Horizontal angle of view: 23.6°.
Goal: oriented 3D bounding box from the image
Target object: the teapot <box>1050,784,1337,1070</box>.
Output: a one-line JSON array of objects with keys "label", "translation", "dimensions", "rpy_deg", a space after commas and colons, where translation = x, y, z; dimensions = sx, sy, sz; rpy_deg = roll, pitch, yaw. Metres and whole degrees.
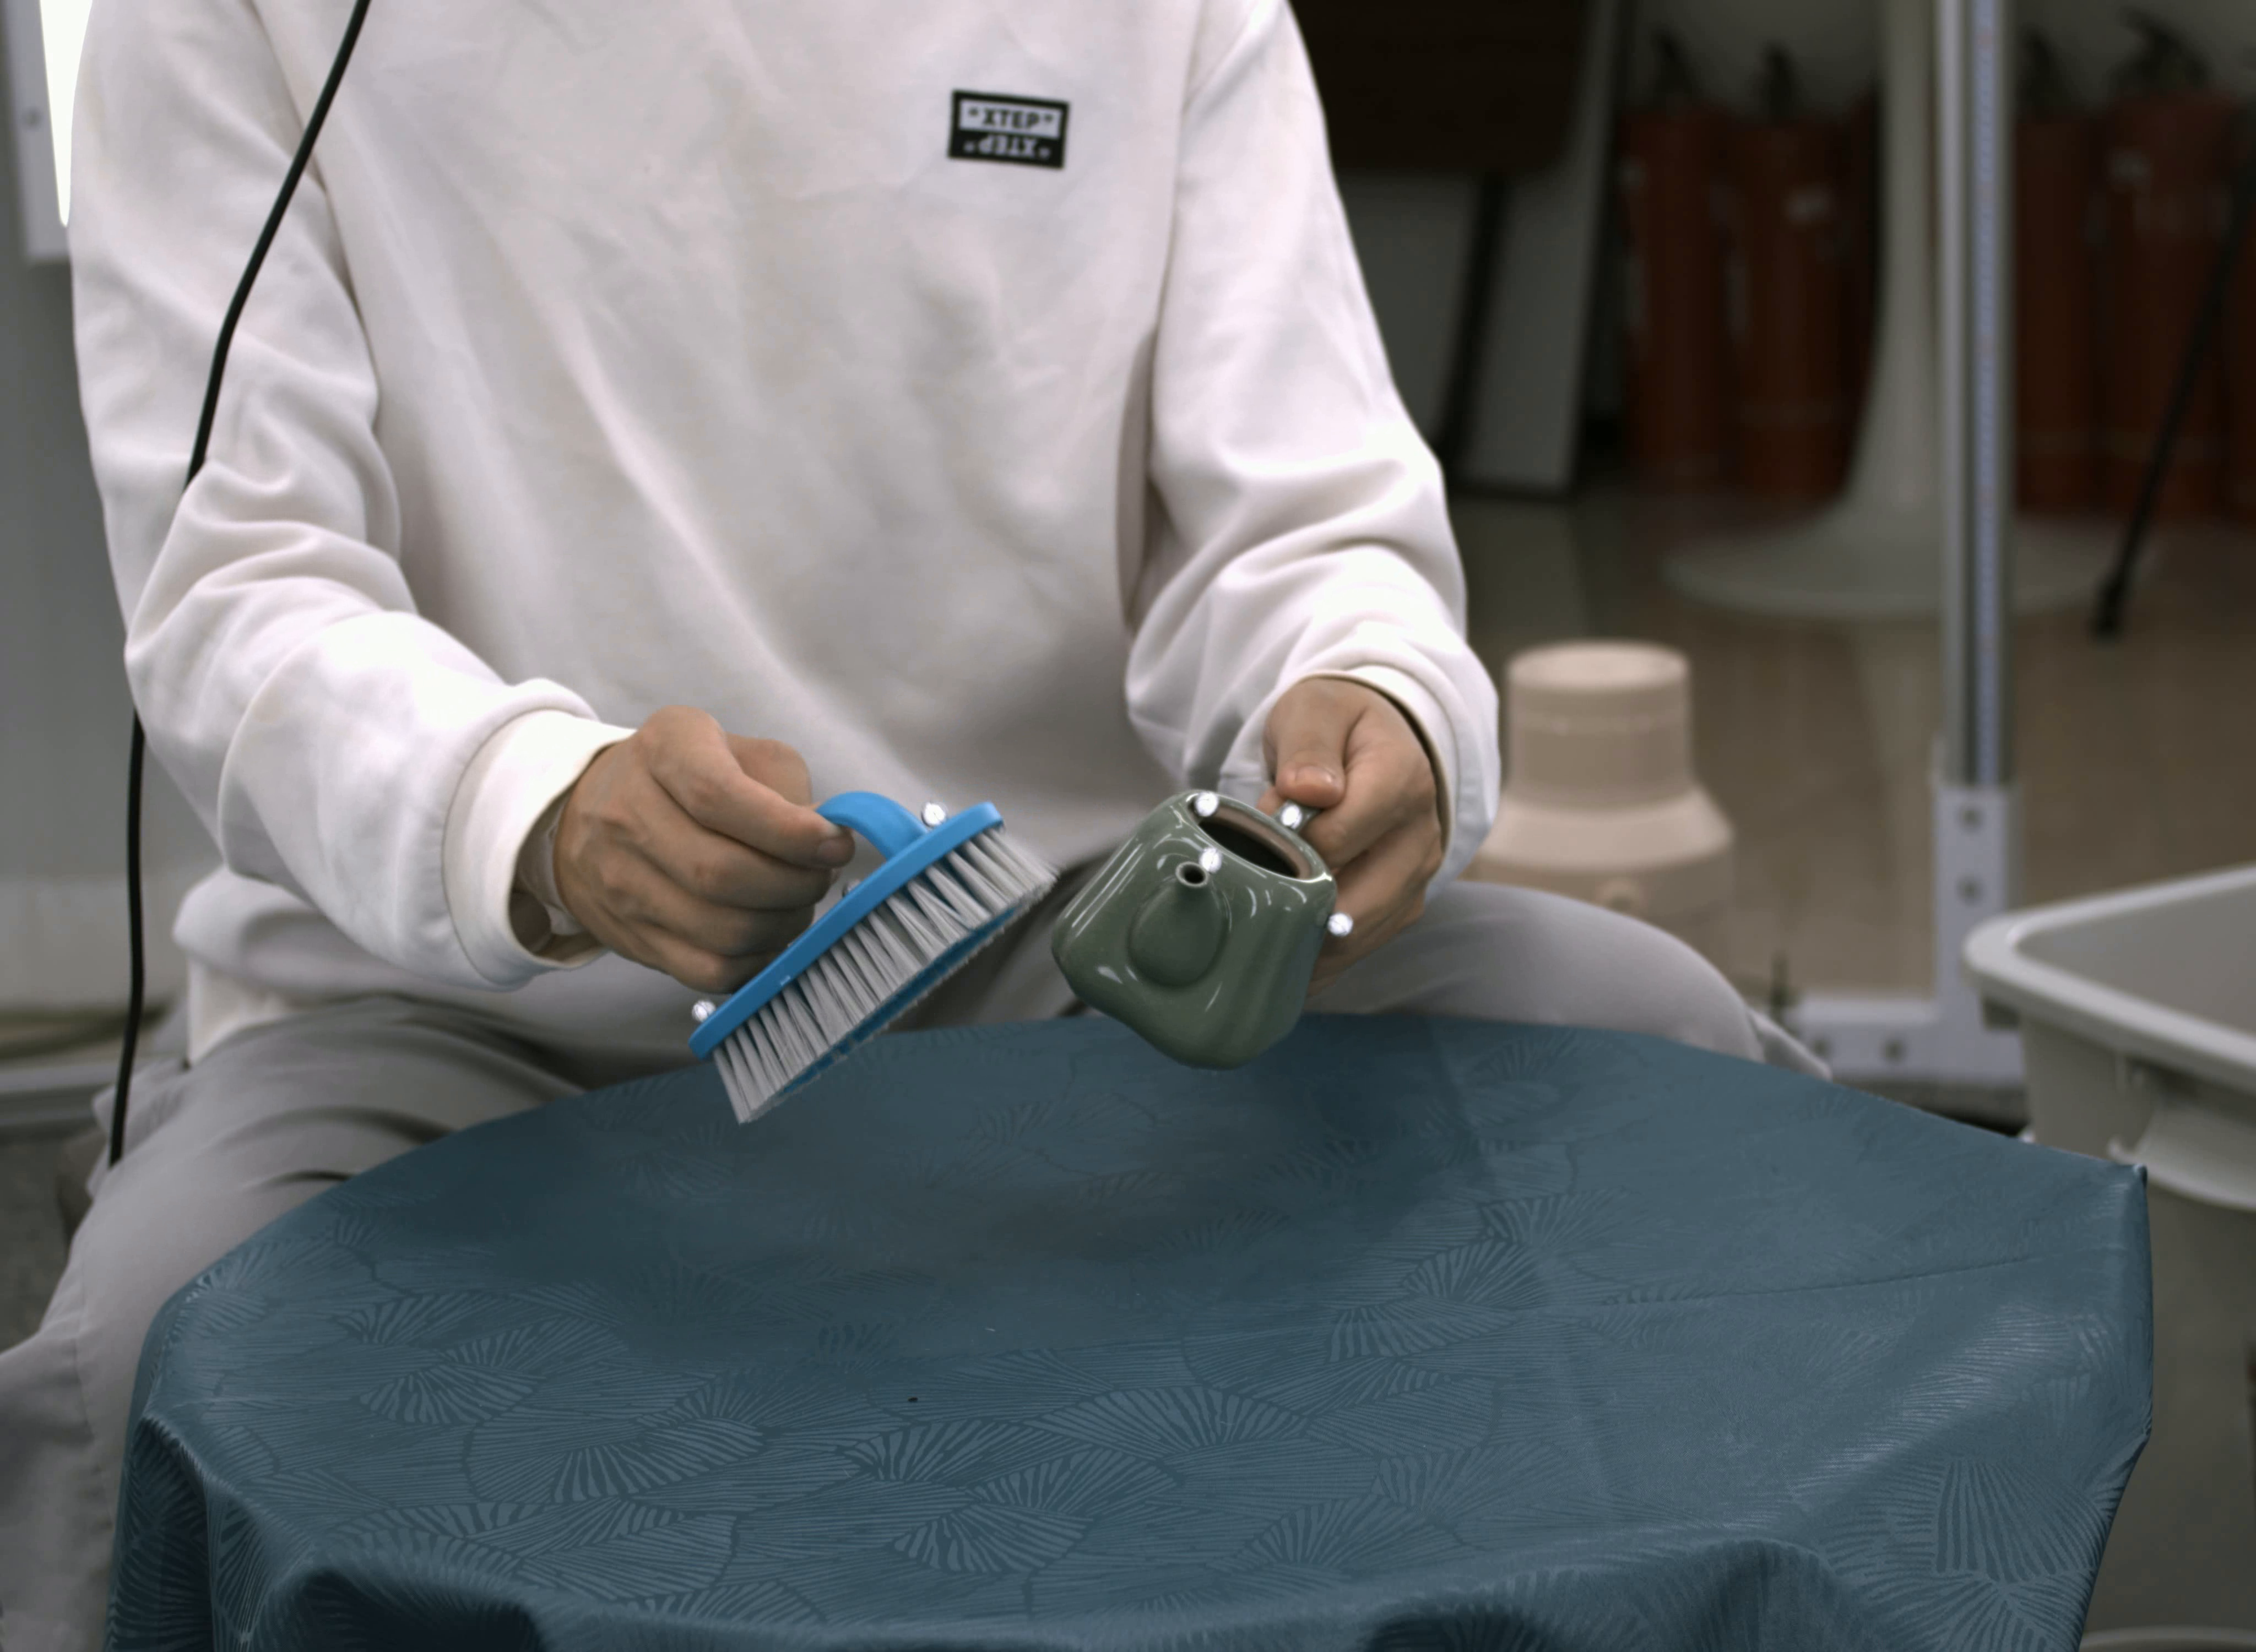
[{"label": "teapot", "translation": [0.025, 0.030, 1.727], "dimensions": [0.080, 0.076, 0.131], "rpy_deg": [34, 19, 13]}]

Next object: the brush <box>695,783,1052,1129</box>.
[{"label": "brush", "translation": [-0.089, 0.031, 1.676], "dimensions": [0.143, 0.064, 0.083], "rpy_deg": [-43, -4, 39]}]
